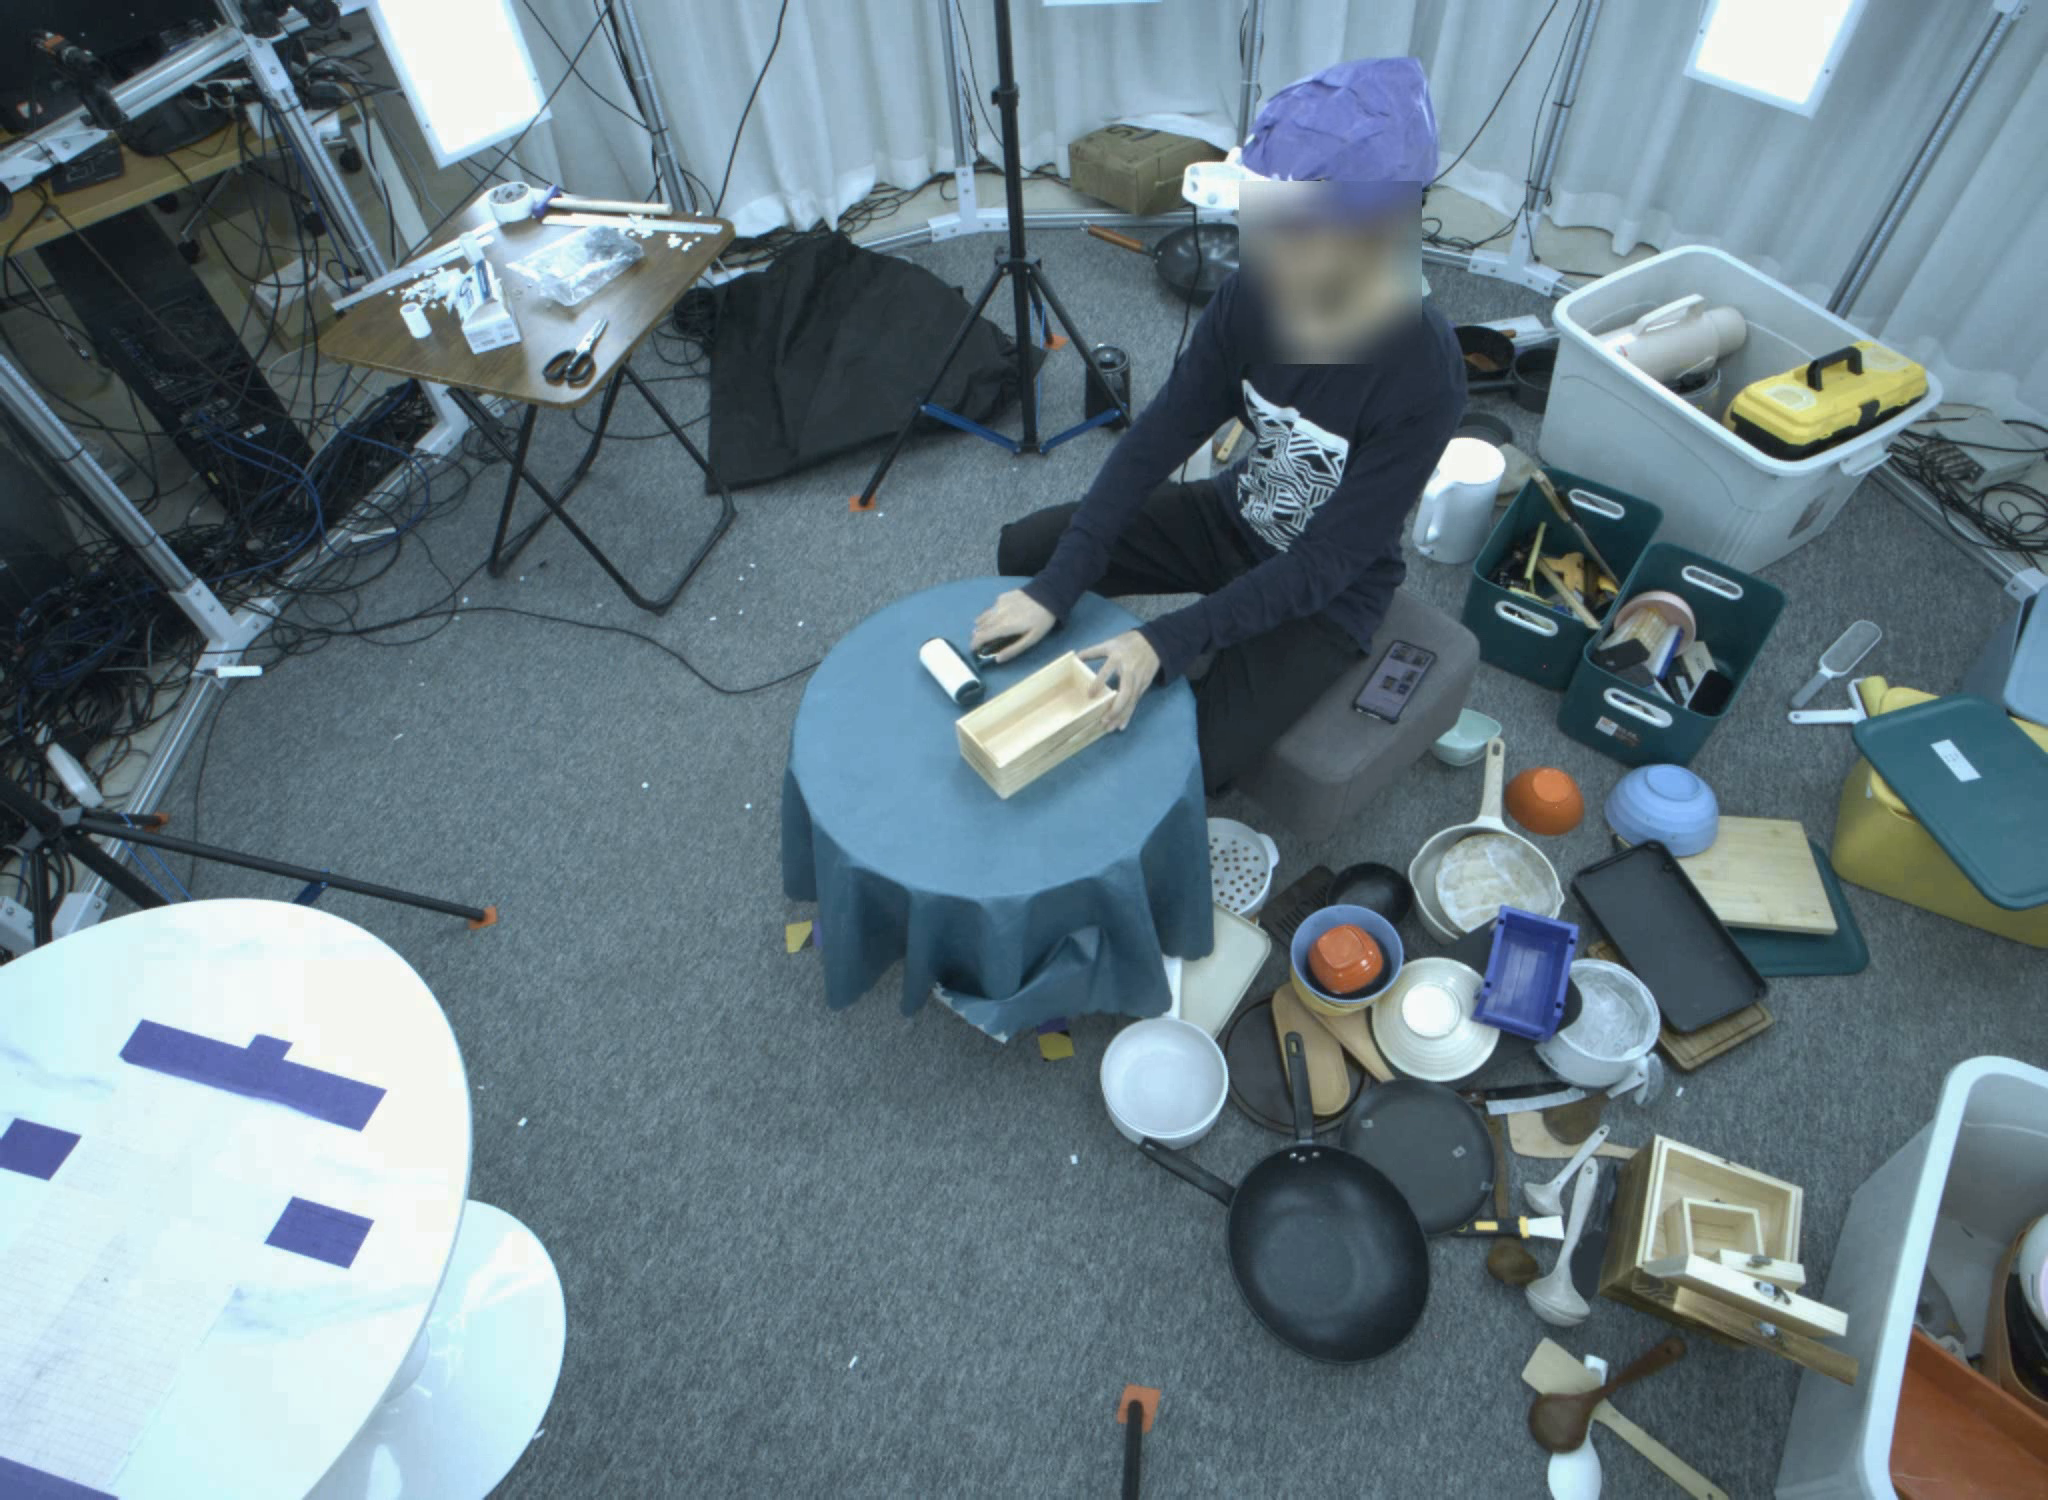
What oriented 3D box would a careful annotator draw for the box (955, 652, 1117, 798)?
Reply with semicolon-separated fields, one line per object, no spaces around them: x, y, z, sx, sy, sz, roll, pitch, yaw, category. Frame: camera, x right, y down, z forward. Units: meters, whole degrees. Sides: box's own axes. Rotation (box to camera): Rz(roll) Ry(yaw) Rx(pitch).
0.019;-0.038;1.773;0.213;0.081;0.105;-32;59;-22;box

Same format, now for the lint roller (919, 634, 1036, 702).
-0.058;-0.150;1.880;0.182;0.049;0.132;-27;58;-22;lint roller
